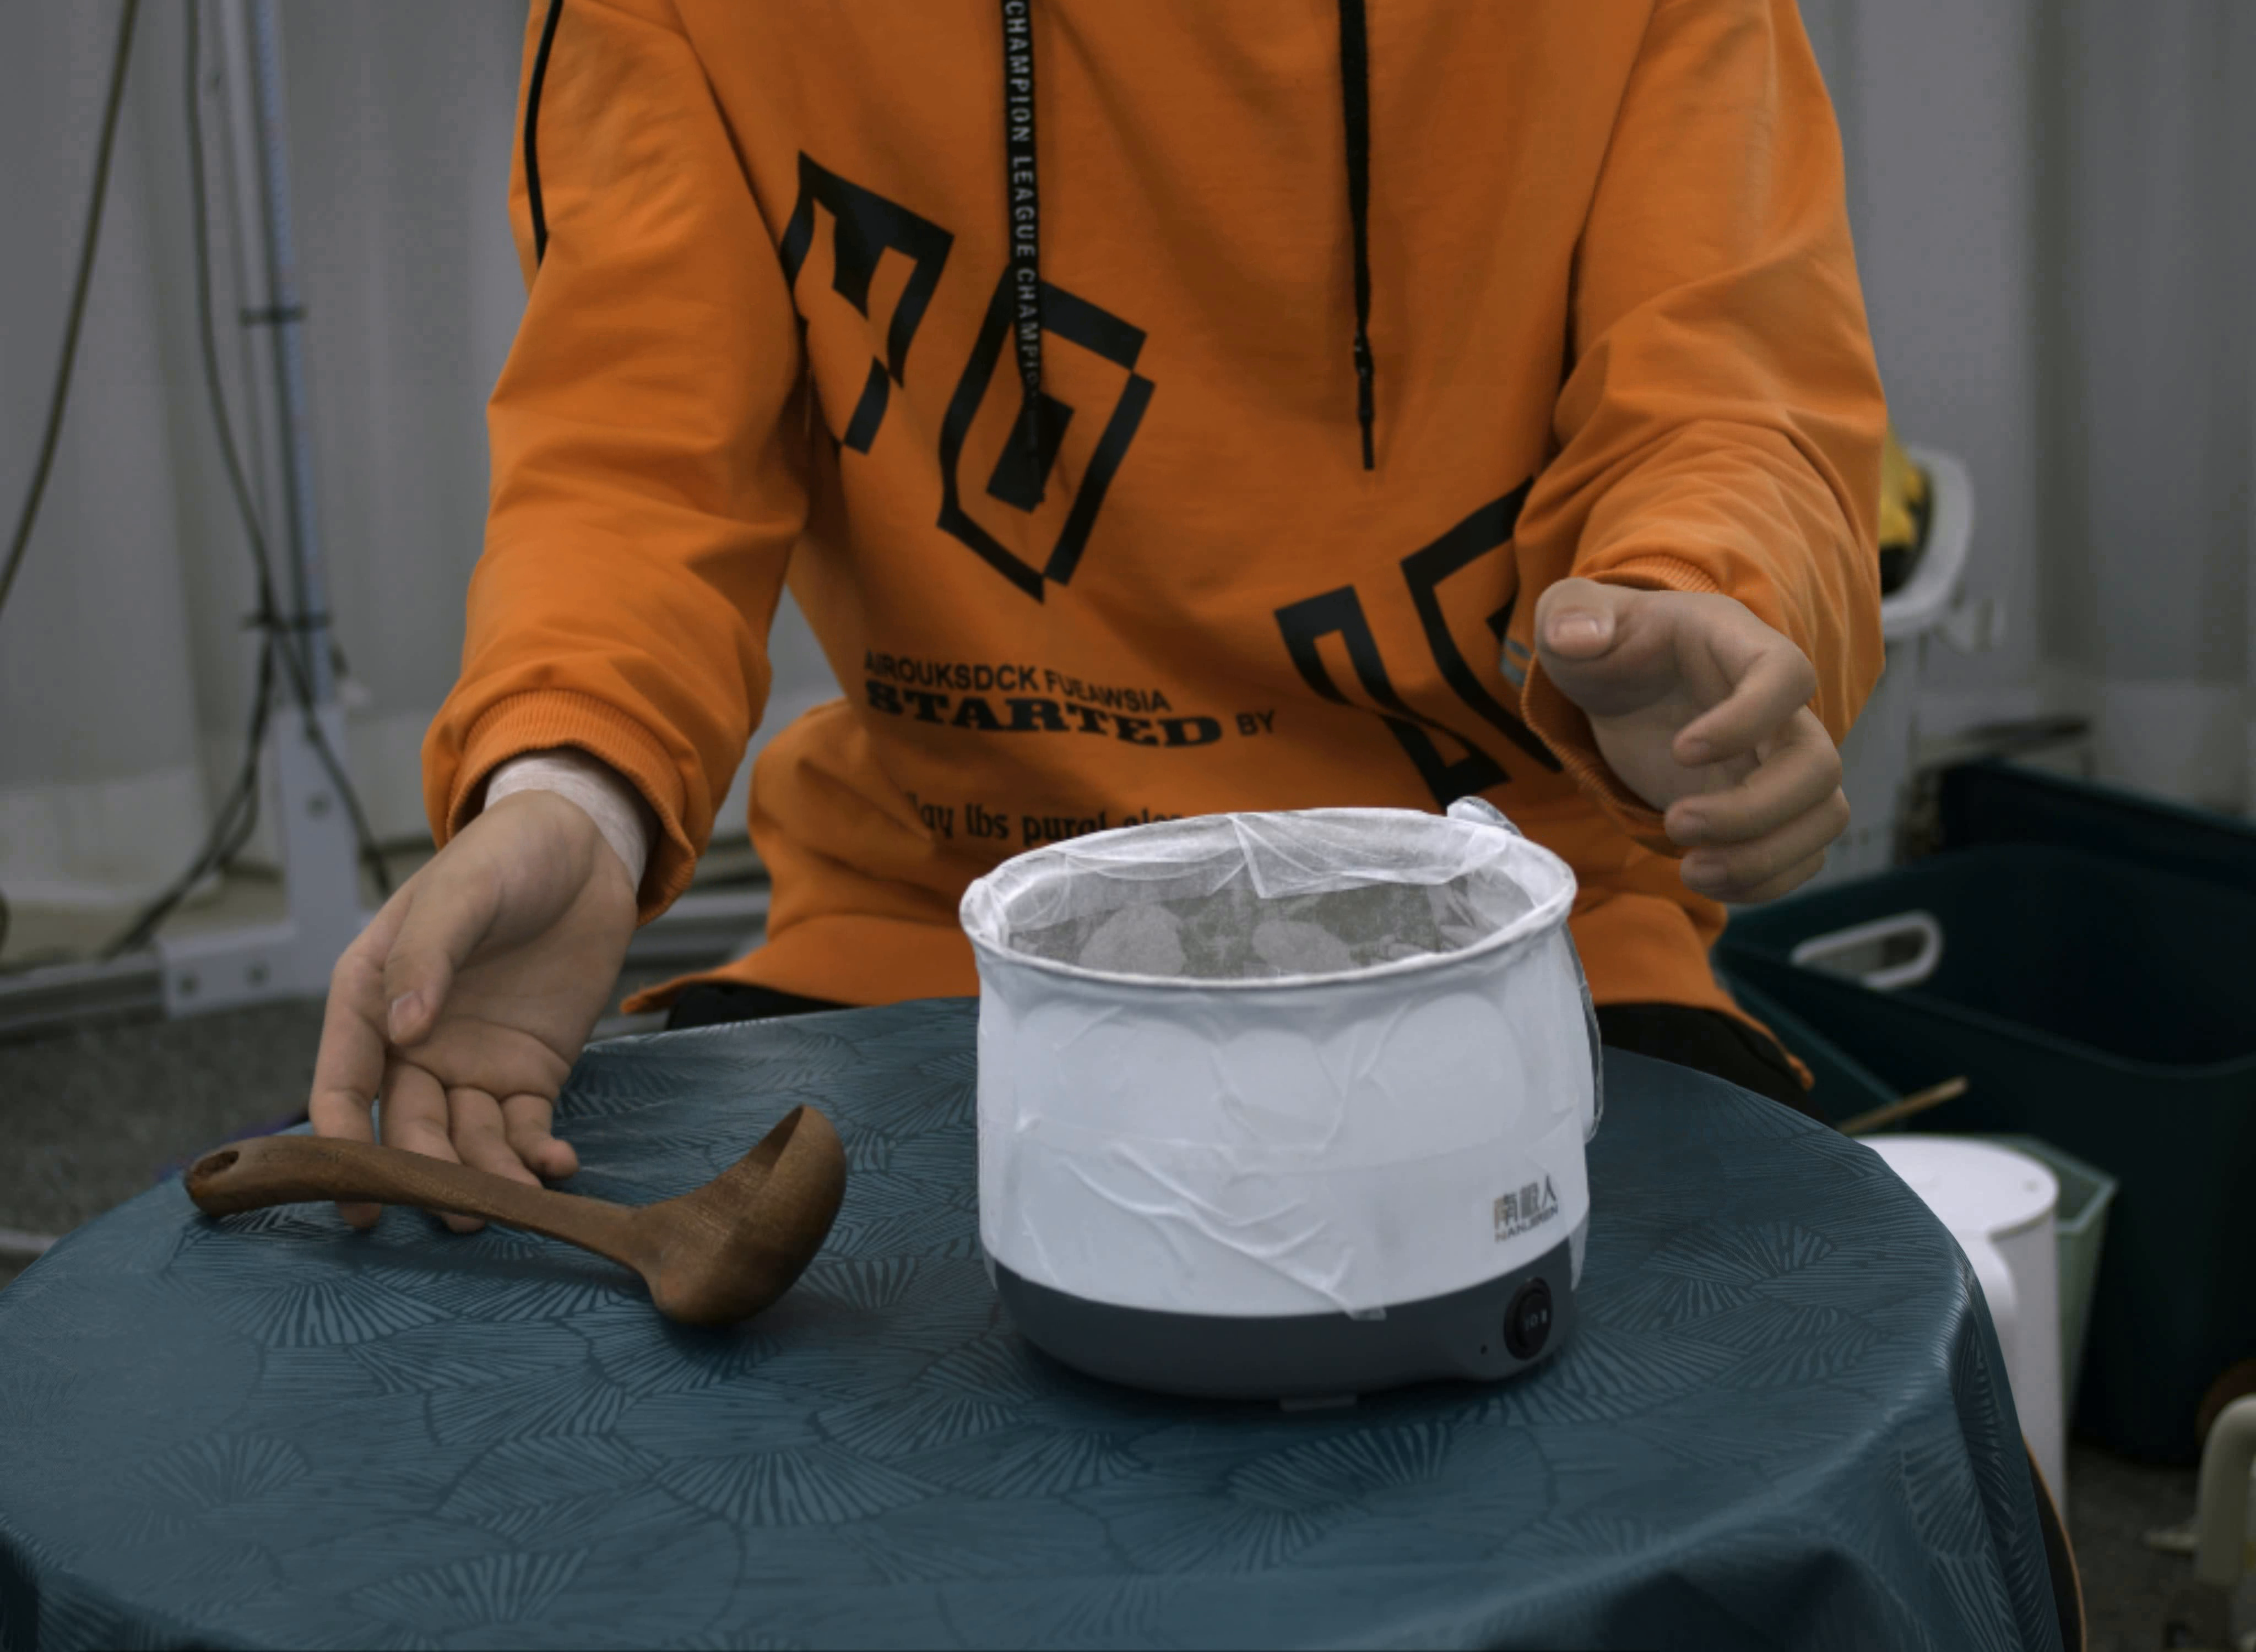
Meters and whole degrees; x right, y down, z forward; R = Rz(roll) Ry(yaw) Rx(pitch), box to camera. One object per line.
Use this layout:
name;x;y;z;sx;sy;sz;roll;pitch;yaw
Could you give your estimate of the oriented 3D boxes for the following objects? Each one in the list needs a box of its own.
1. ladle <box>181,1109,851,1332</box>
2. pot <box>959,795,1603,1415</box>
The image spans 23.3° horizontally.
ladle;-0.195;0.108;1.665;0.261;0.064;0.077;7;42;31
pot;0.060;0.073;1.595;0.179;0.136;0.233;9;19;37
